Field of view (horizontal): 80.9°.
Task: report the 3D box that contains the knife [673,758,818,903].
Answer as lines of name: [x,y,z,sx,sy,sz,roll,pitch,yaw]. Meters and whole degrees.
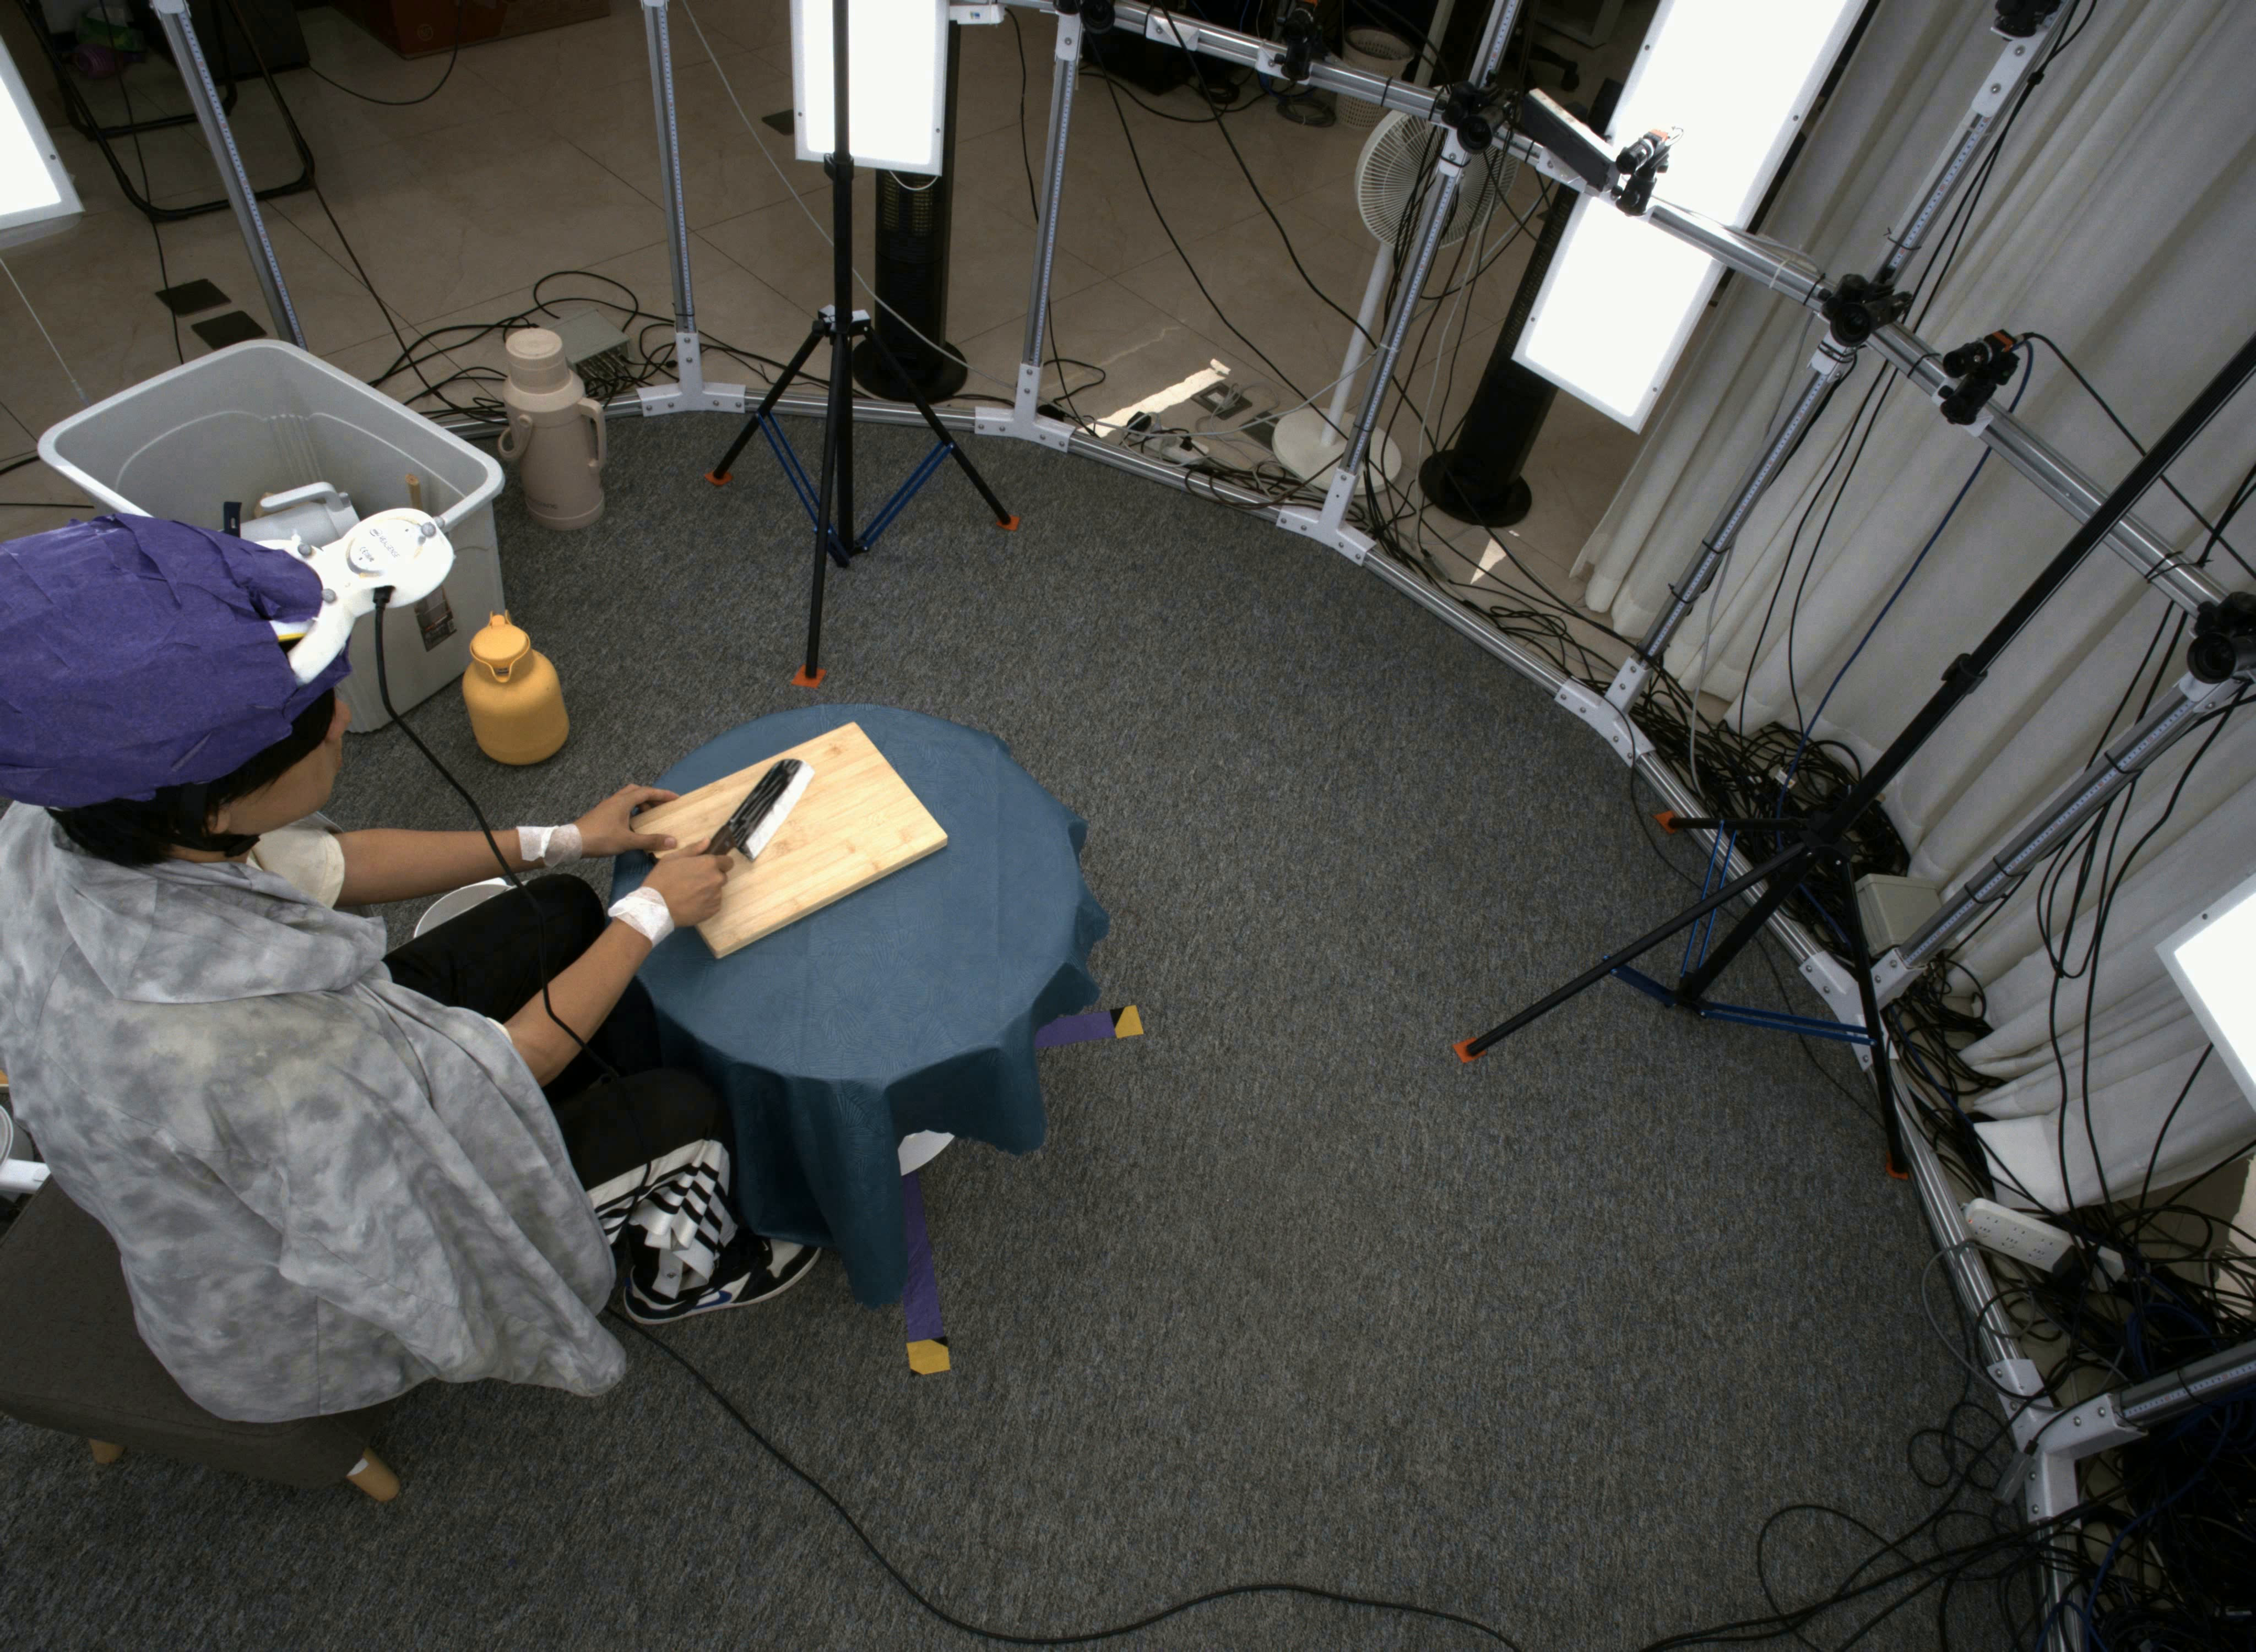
knife: [-0.478,0.005,1.642,0.023,0.071,0.297,0,41,27]

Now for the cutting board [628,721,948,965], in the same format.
cutting board: [-0.442,0.011,1.703,0.350,0.024,0.244,-29,65,-30]
